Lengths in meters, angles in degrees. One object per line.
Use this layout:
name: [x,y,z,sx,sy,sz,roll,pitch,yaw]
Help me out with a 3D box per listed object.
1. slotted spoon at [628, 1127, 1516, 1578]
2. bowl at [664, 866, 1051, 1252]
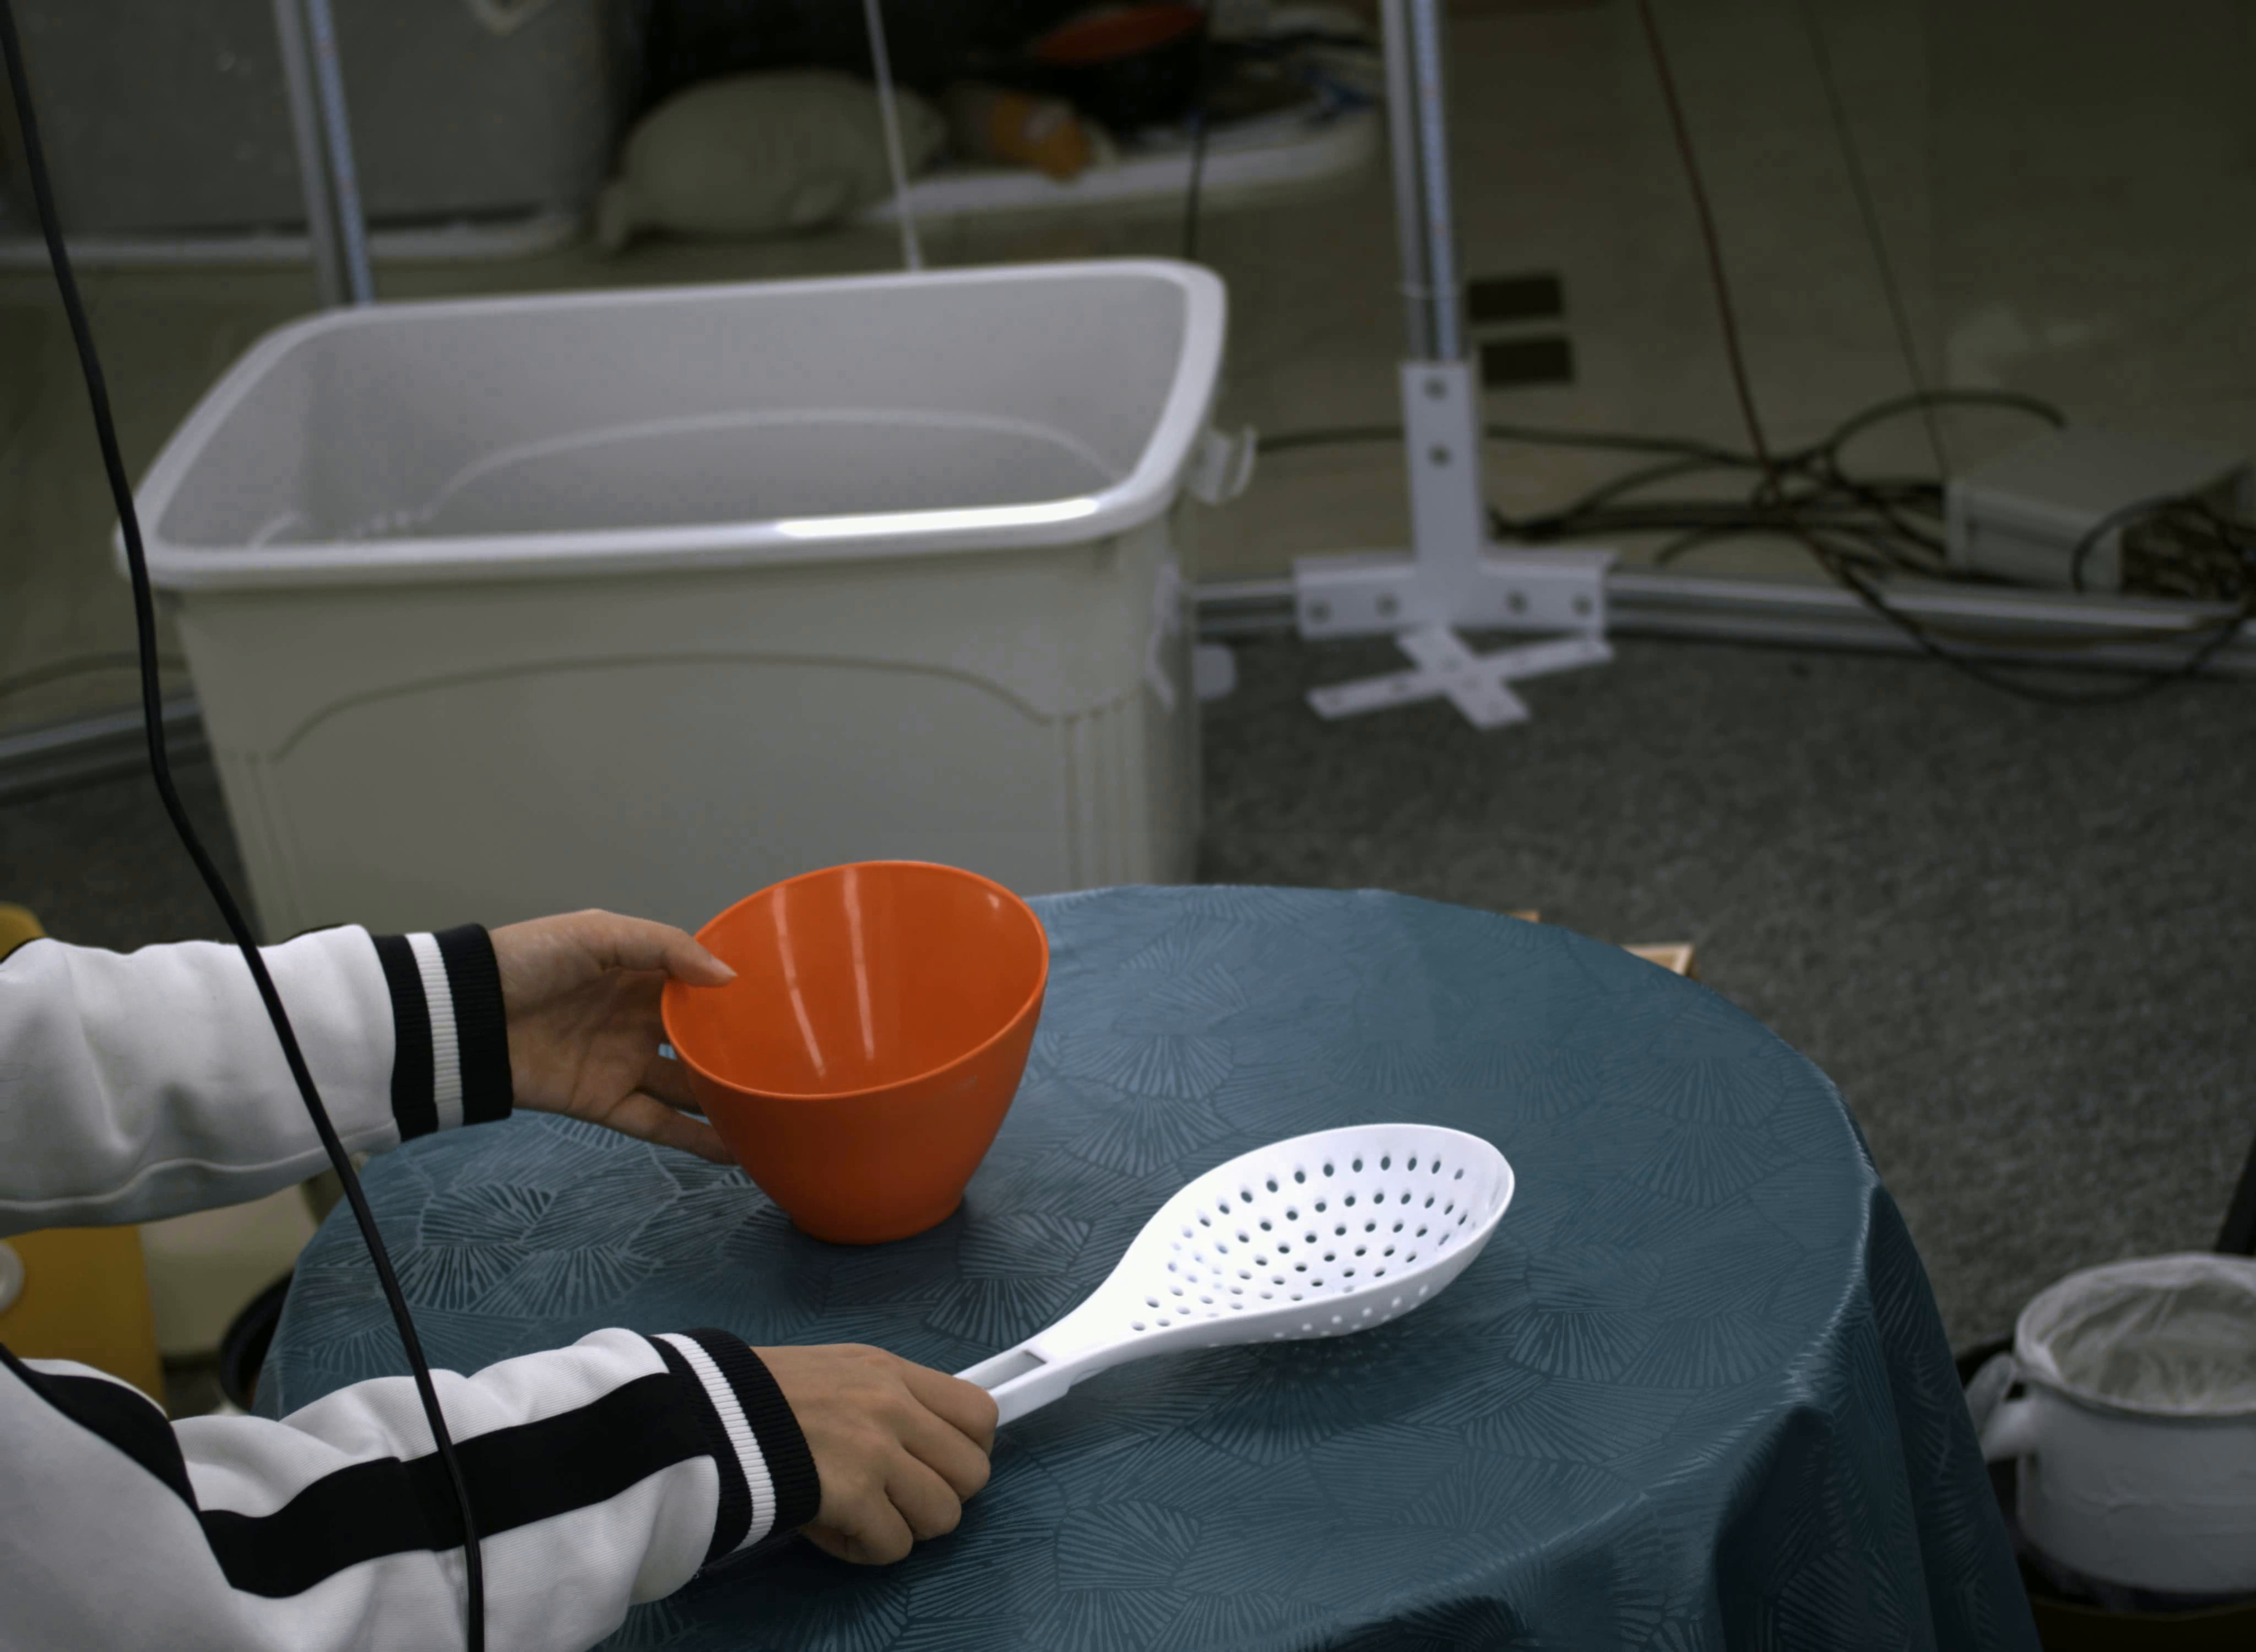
slotted spoon: [-0.018,0.185,1.994,0.348,0.046,0.135,-18,23,-25]
bowl: [-0.099,0.095,2.148,0.148,0.106,0.146,-4,27,2]
